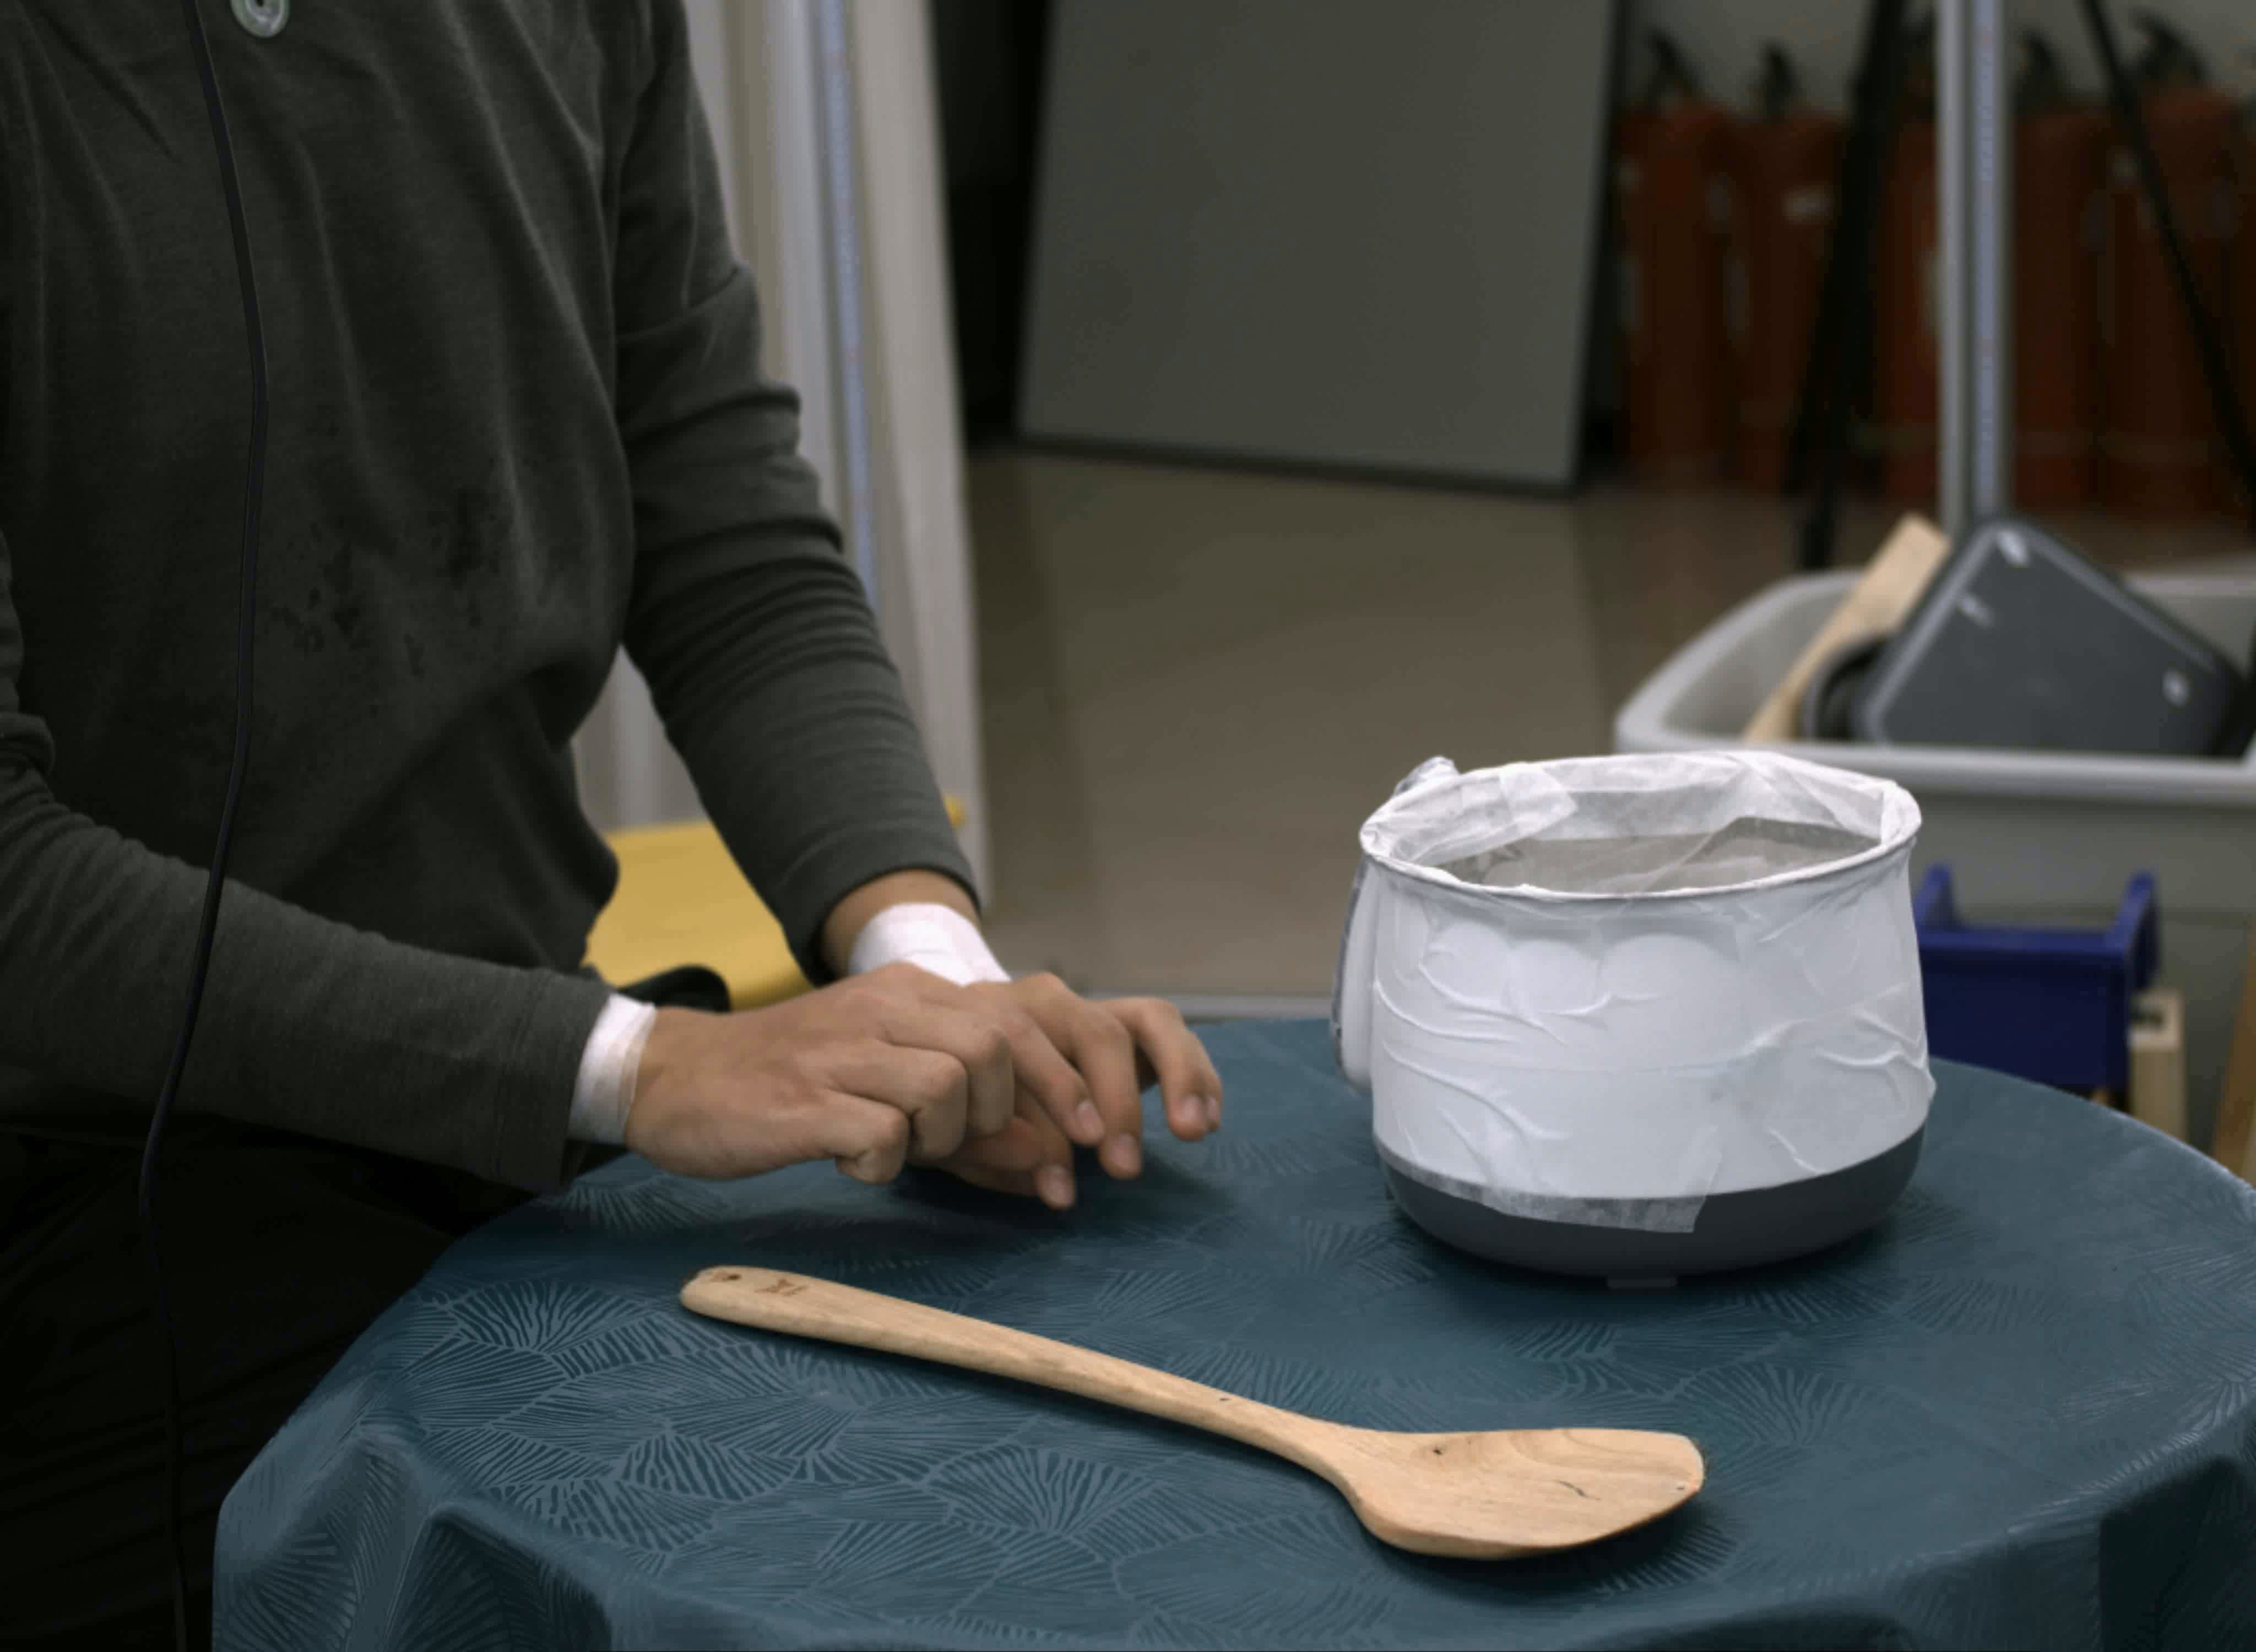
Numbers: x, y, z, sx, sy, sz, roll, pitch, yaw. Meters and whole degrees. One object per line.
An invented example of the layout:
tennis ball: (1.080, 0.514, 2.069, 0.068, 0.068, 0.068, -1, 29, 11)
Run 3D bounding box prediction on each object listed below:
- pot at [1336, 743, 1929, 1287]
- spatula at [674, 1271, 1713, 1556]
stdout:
pot: (0.146, 0.054, 1.716, 0.175, 0.138, 0.236, -13, 16, -35)
spatula: (-0.001, 0.164, 1.558, 0.394, 0.018, 0.094, 9, 17, 43)
